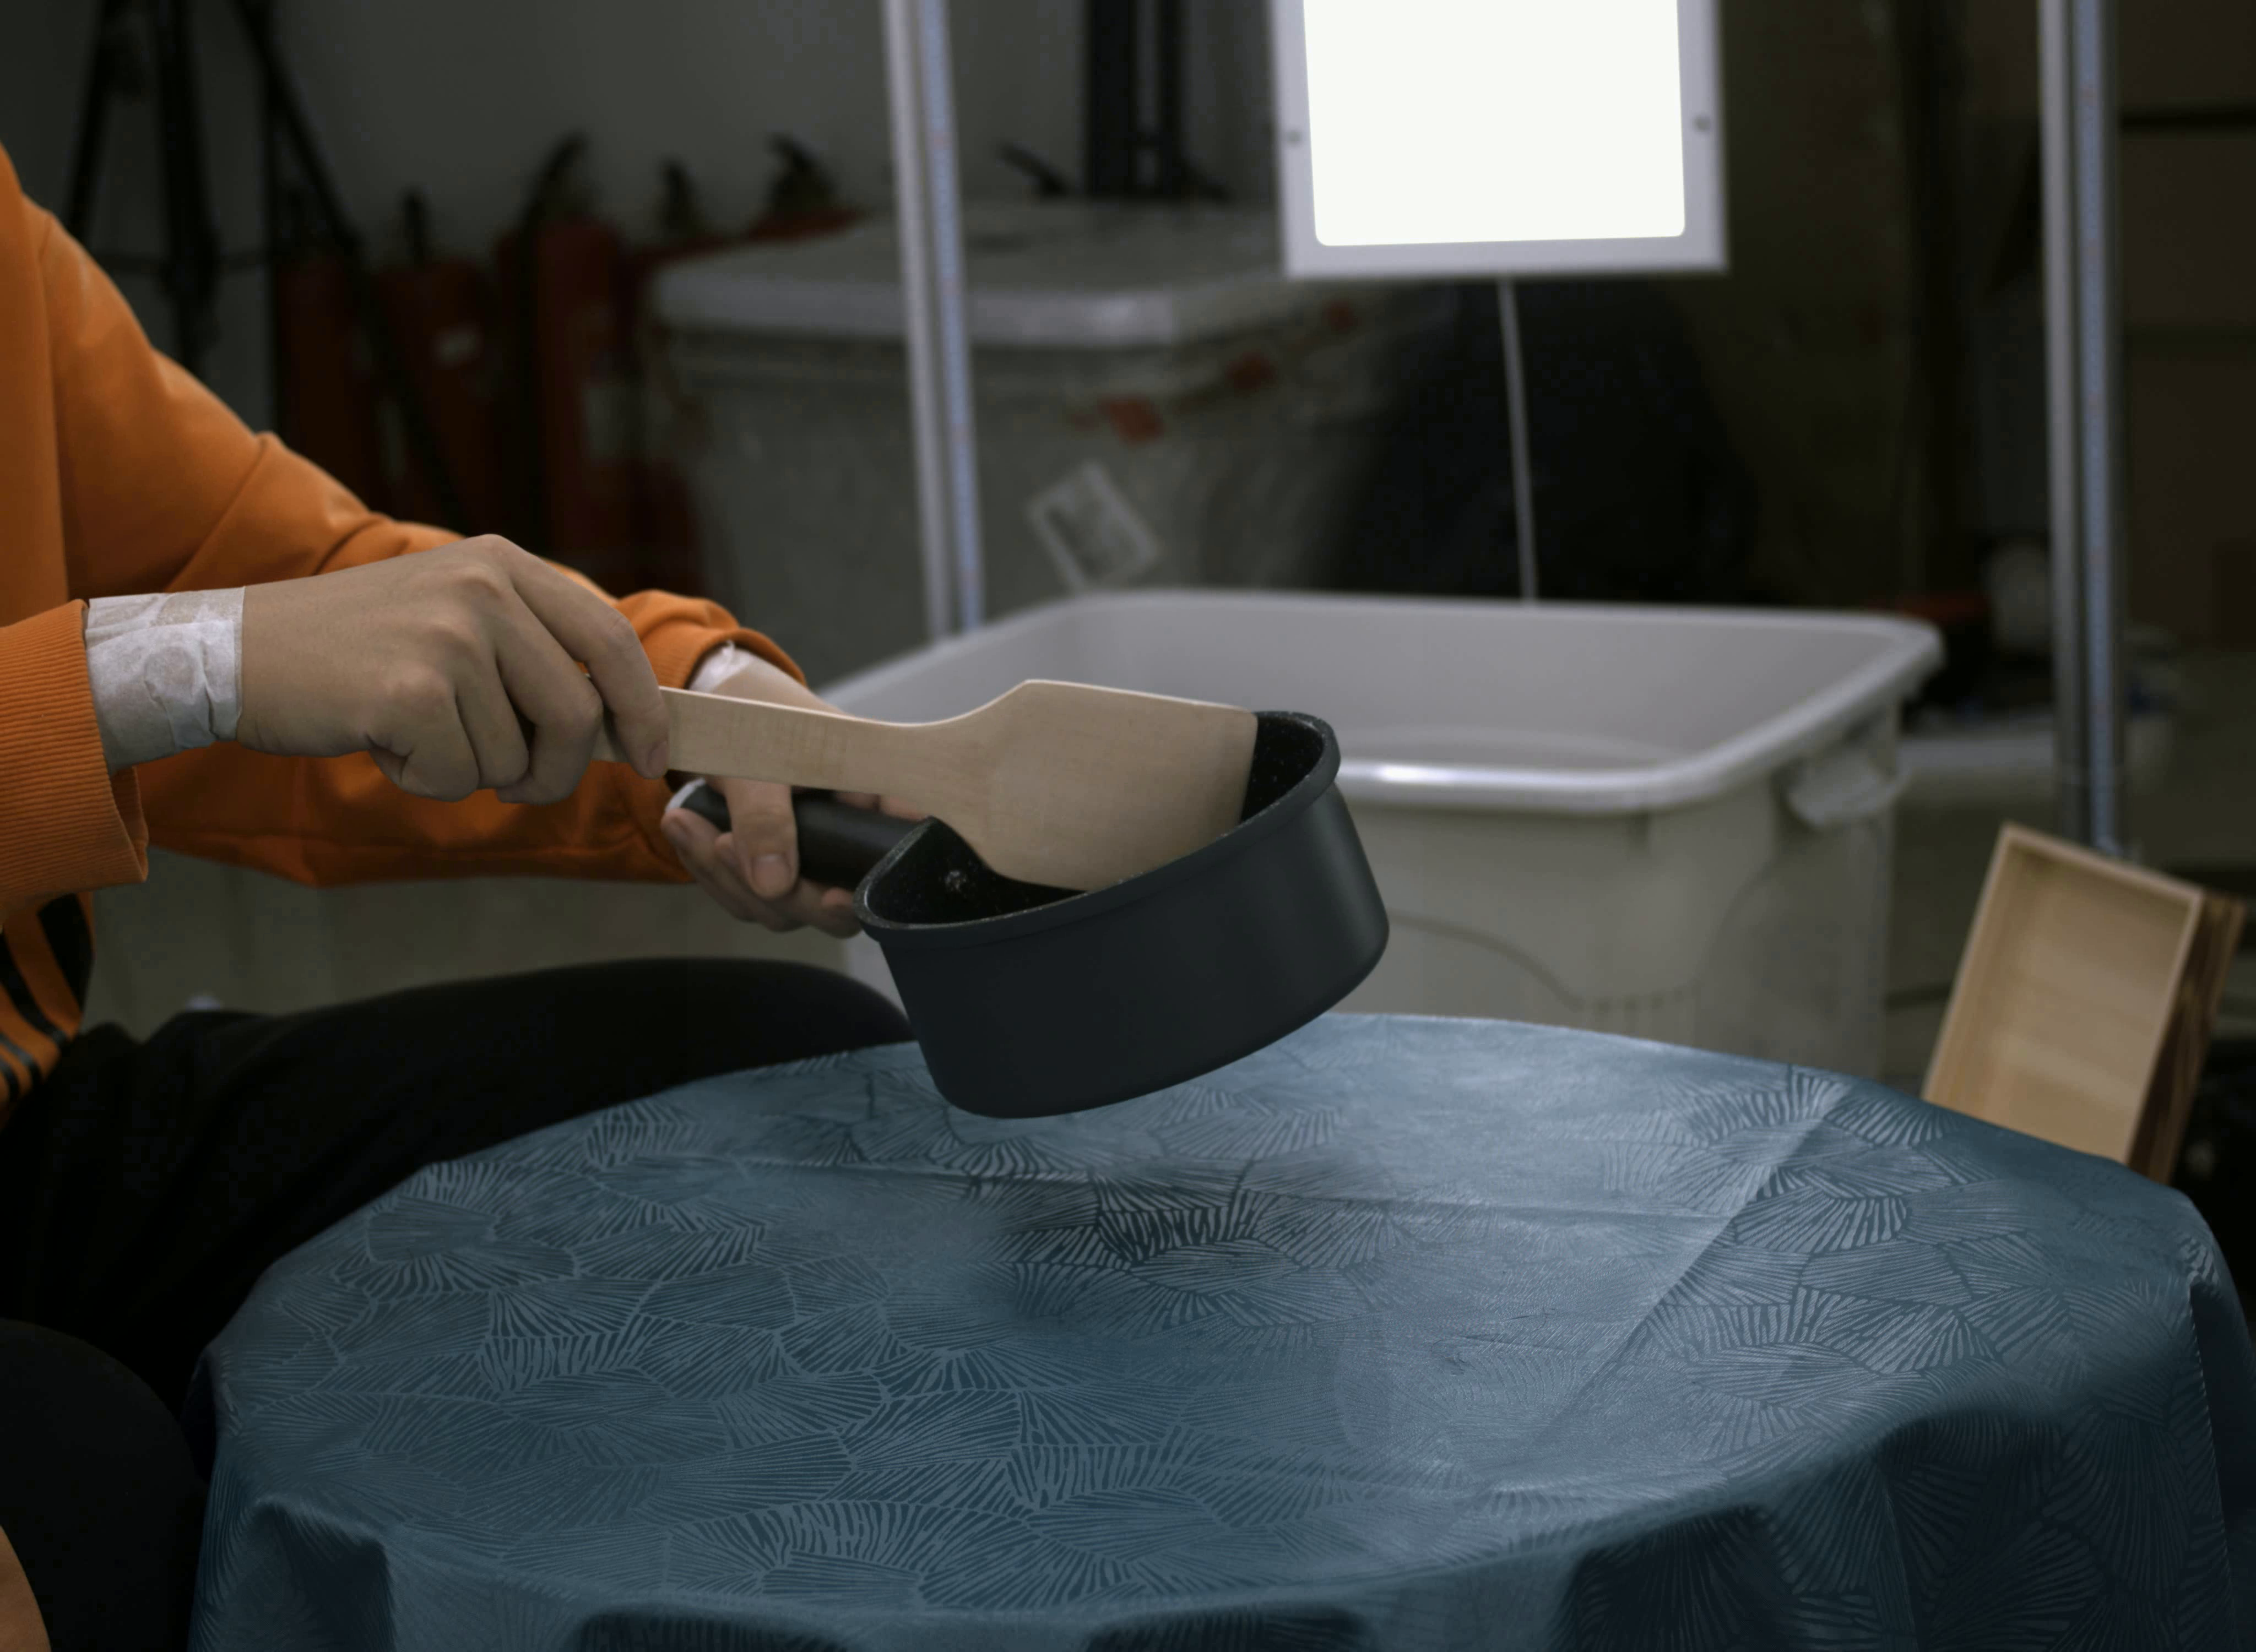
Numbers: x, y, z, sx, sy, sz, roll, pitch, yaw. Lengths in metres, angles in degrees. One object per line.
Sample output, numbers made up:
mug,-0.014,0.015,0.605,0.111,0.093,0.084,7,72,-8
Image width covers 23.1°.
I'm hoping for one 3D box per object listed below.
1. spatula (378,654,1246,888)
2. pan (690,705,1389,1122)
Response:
spatula,-0.102,-0.026,1.811,0.289,0.073,0.011,8,14,-14
pan,-0.047,0.025,1.908,0.168,0.086,0.335,-29,18,-30
